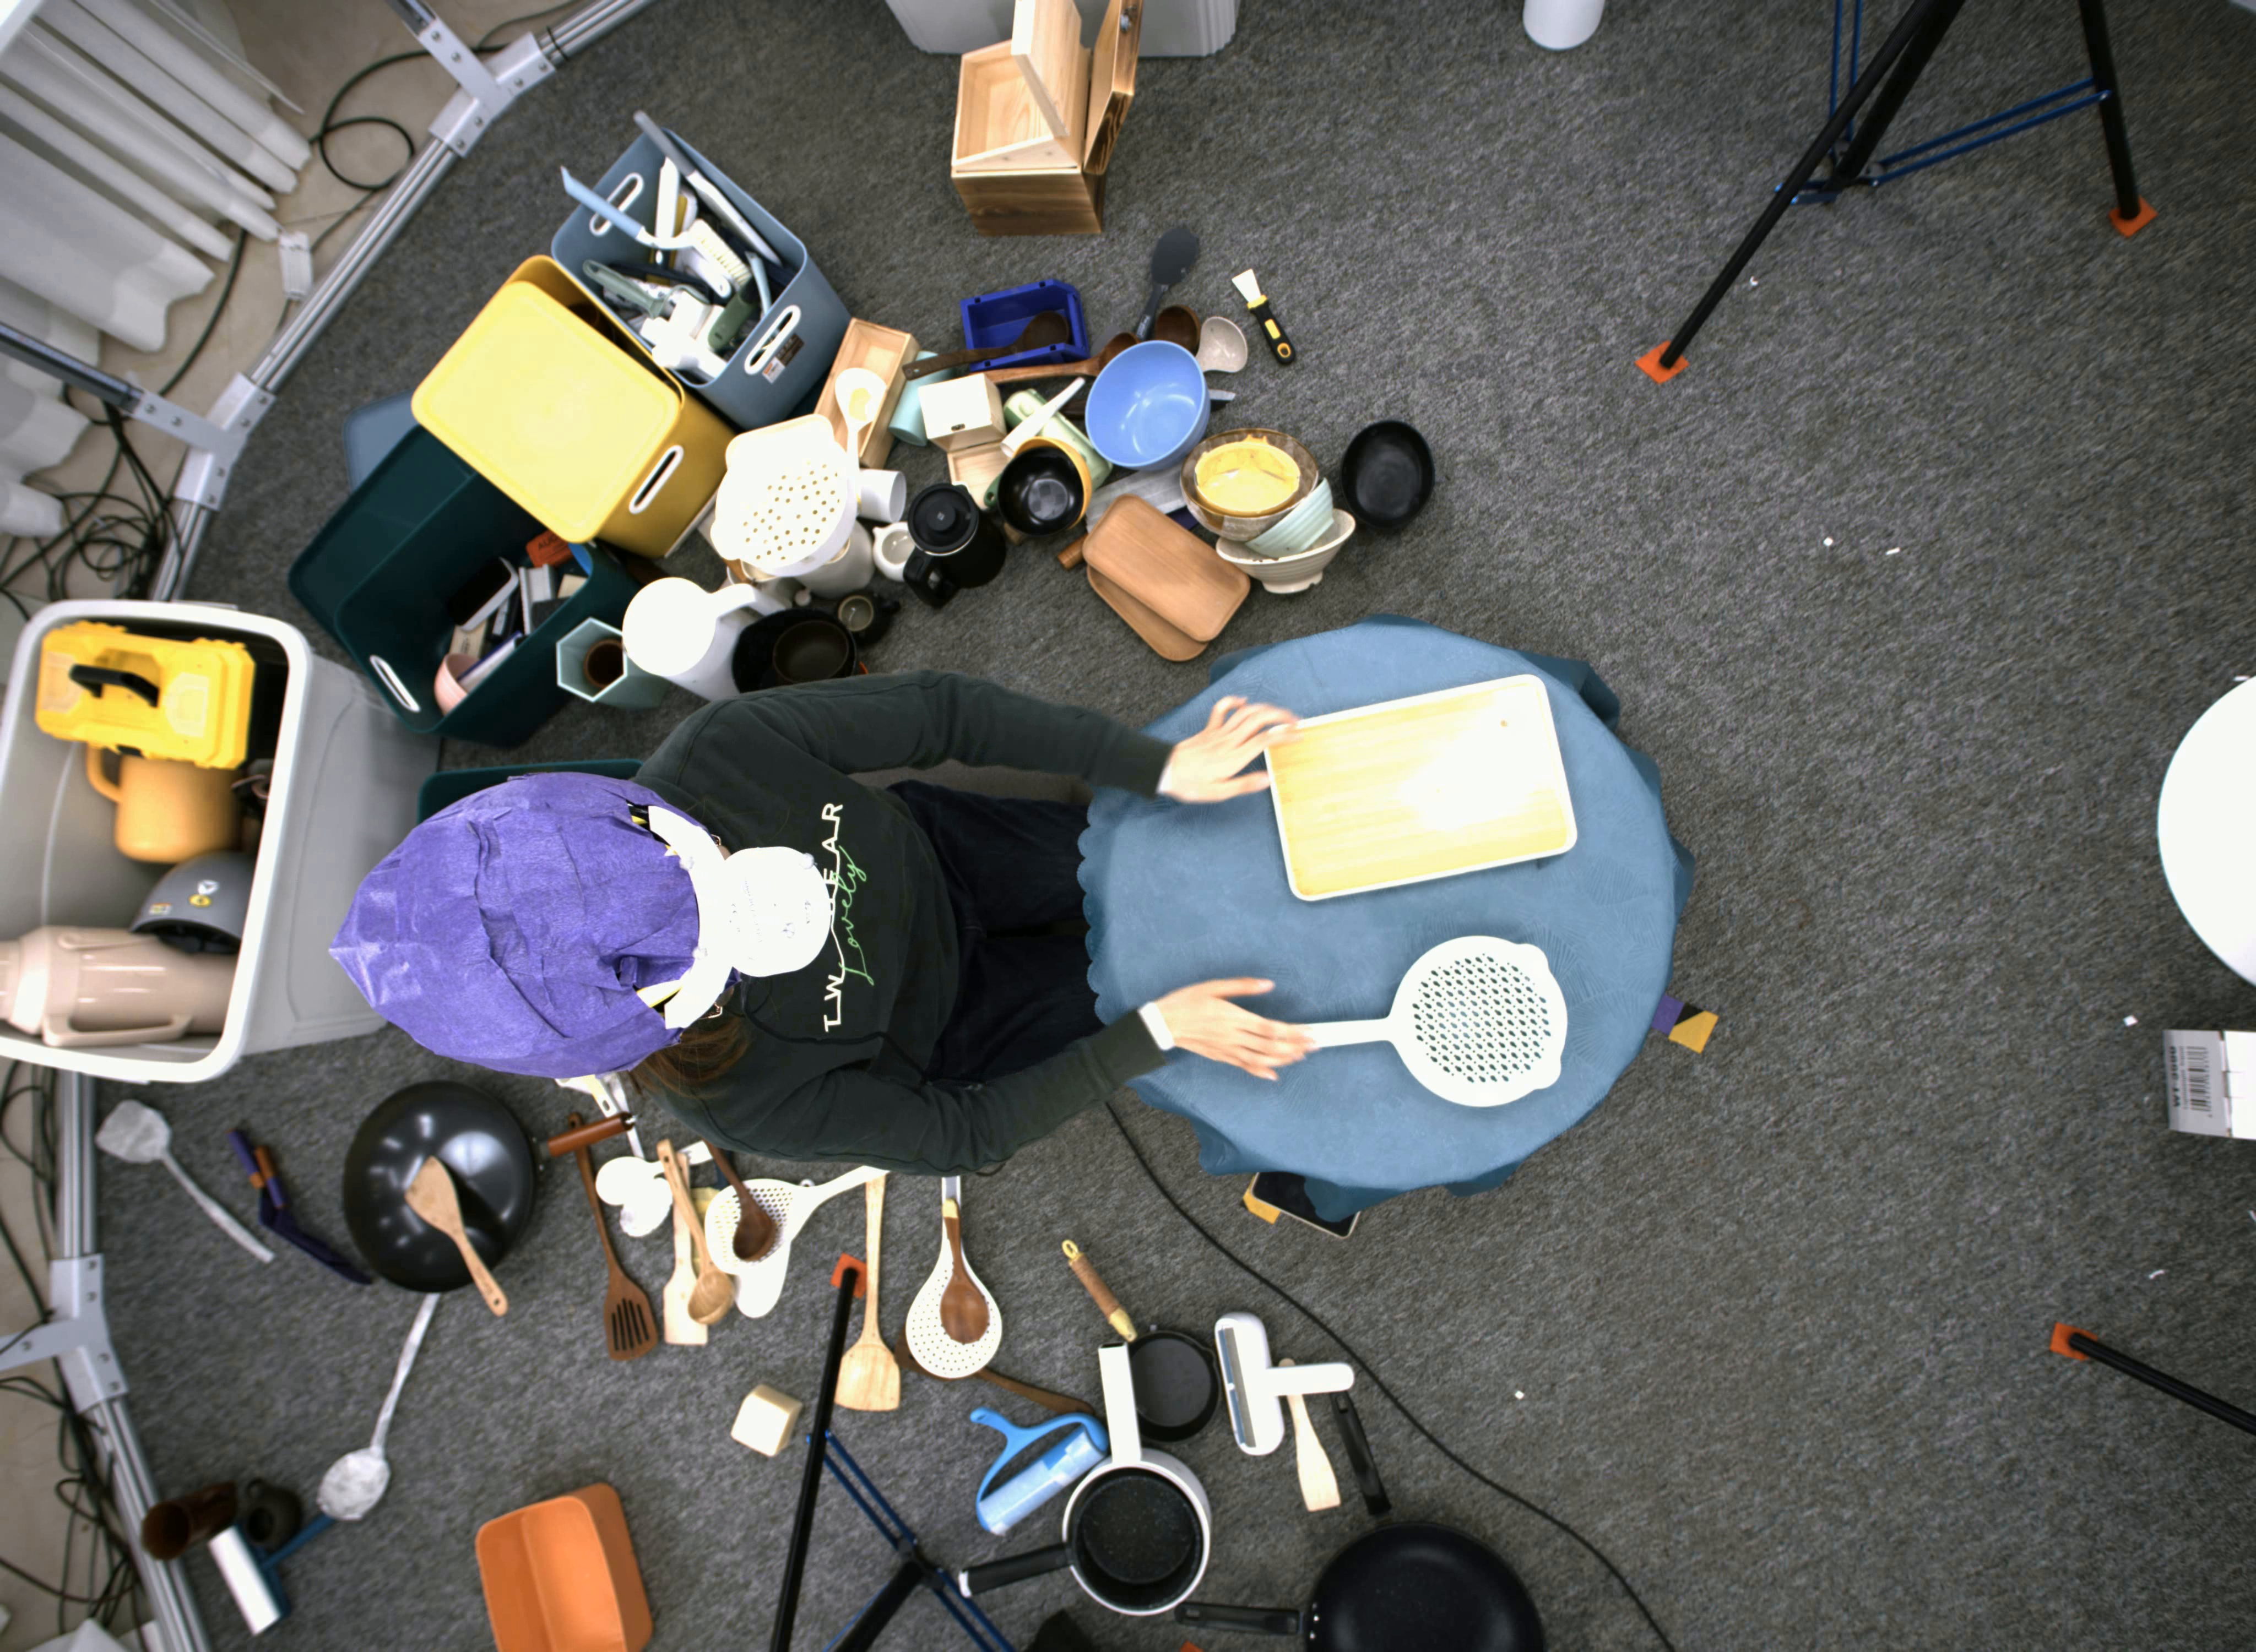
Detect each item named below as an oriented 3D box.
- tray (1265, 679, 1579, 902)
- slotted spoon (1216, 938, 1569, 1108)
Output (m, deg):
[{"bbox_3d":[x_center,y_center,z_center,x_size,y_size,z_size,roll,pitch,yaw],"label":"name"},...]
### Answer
[{"bbox_3d":[0.307,-0.038,1.453,0.302,0.027,0.190,-11,84,9],"label":"tray"},{"bbox_3d":[0.265,0.209,1.424,0.360,0.075,0.168,-6,84,10],"label":"slotted spoon"}]
